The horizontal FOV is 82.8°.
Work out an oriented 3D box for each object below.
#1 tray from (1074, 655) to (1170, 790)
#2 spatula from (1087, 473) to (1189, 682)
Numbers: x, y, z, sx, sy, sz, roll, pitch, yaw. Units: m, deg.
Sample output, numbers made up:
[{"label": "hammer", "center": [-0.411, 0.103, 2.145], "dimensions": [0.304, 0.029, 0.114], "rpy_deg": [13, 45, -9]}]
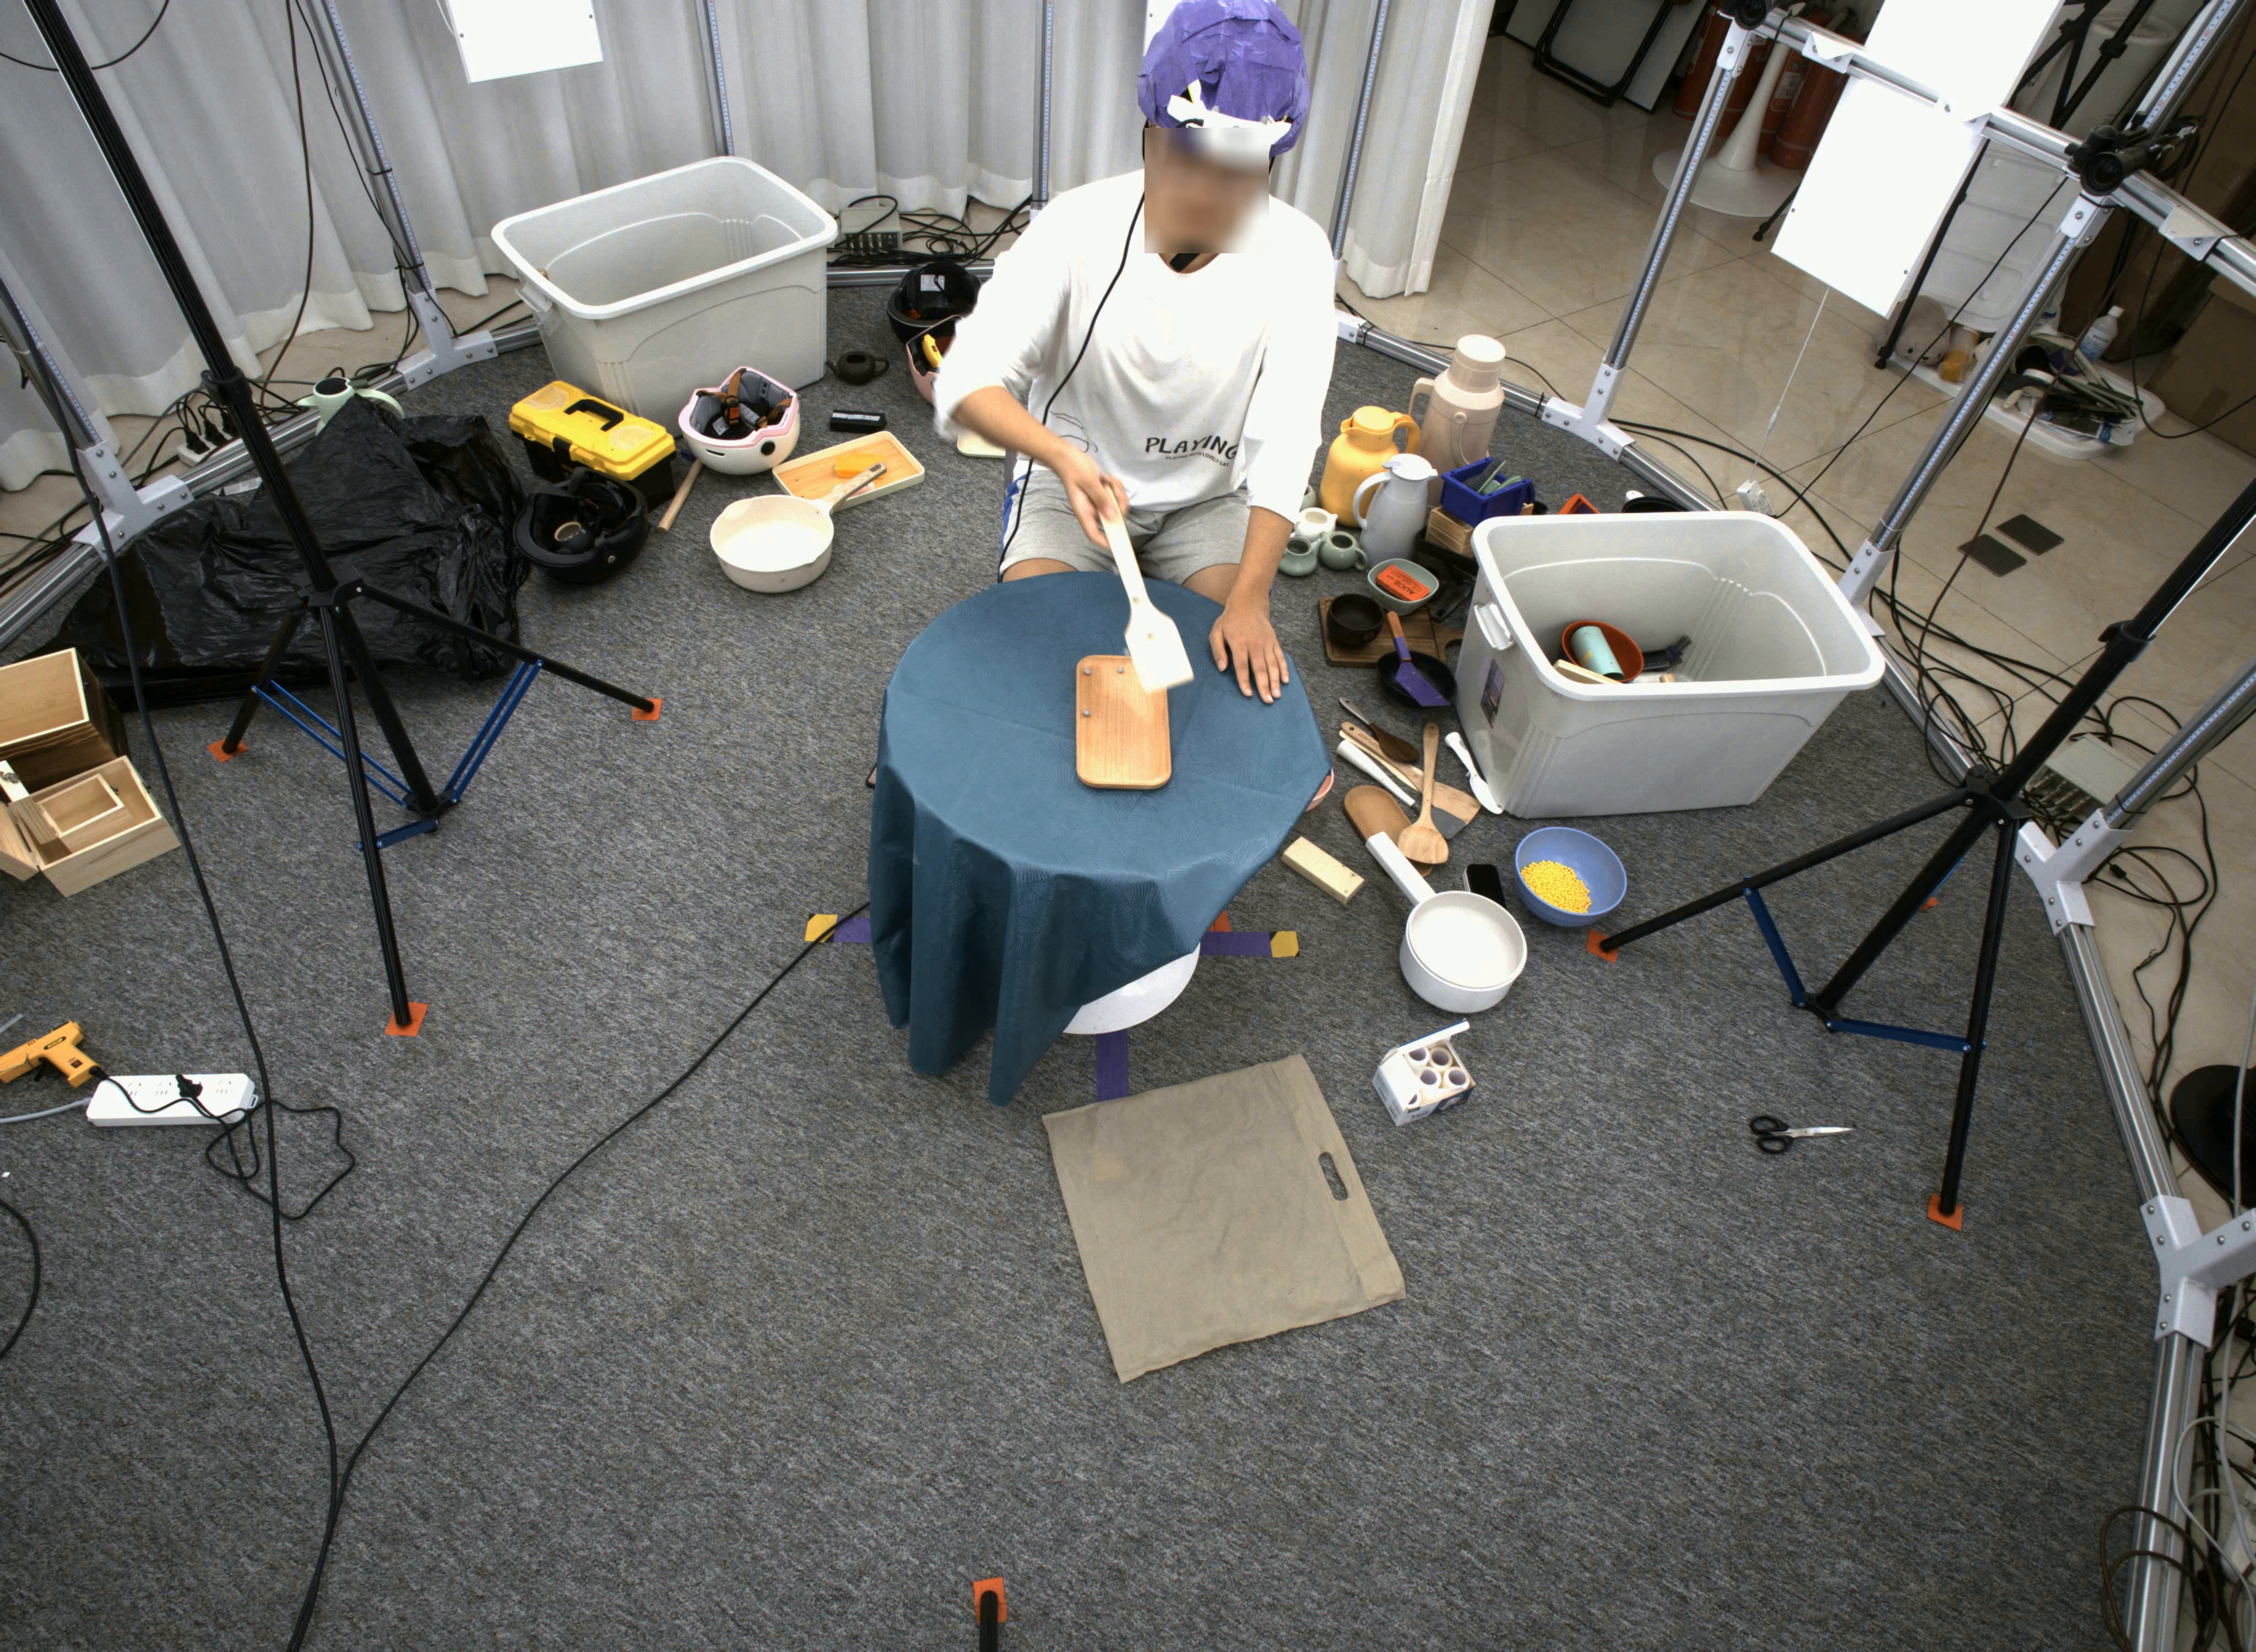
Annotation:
[{"label": "tray", "center": [-0.009, -0.146, 1.780], "dimensions": [0.130, 0.022, 0.257], "rpy_deg": [1, 49, -1]}, {"label": "spatula", "center": [0.002, -0.337, 1.725], "dimensions": [0.072, 0.010, 0.295], "rpy_deg": [-19, 82, -2]}]
